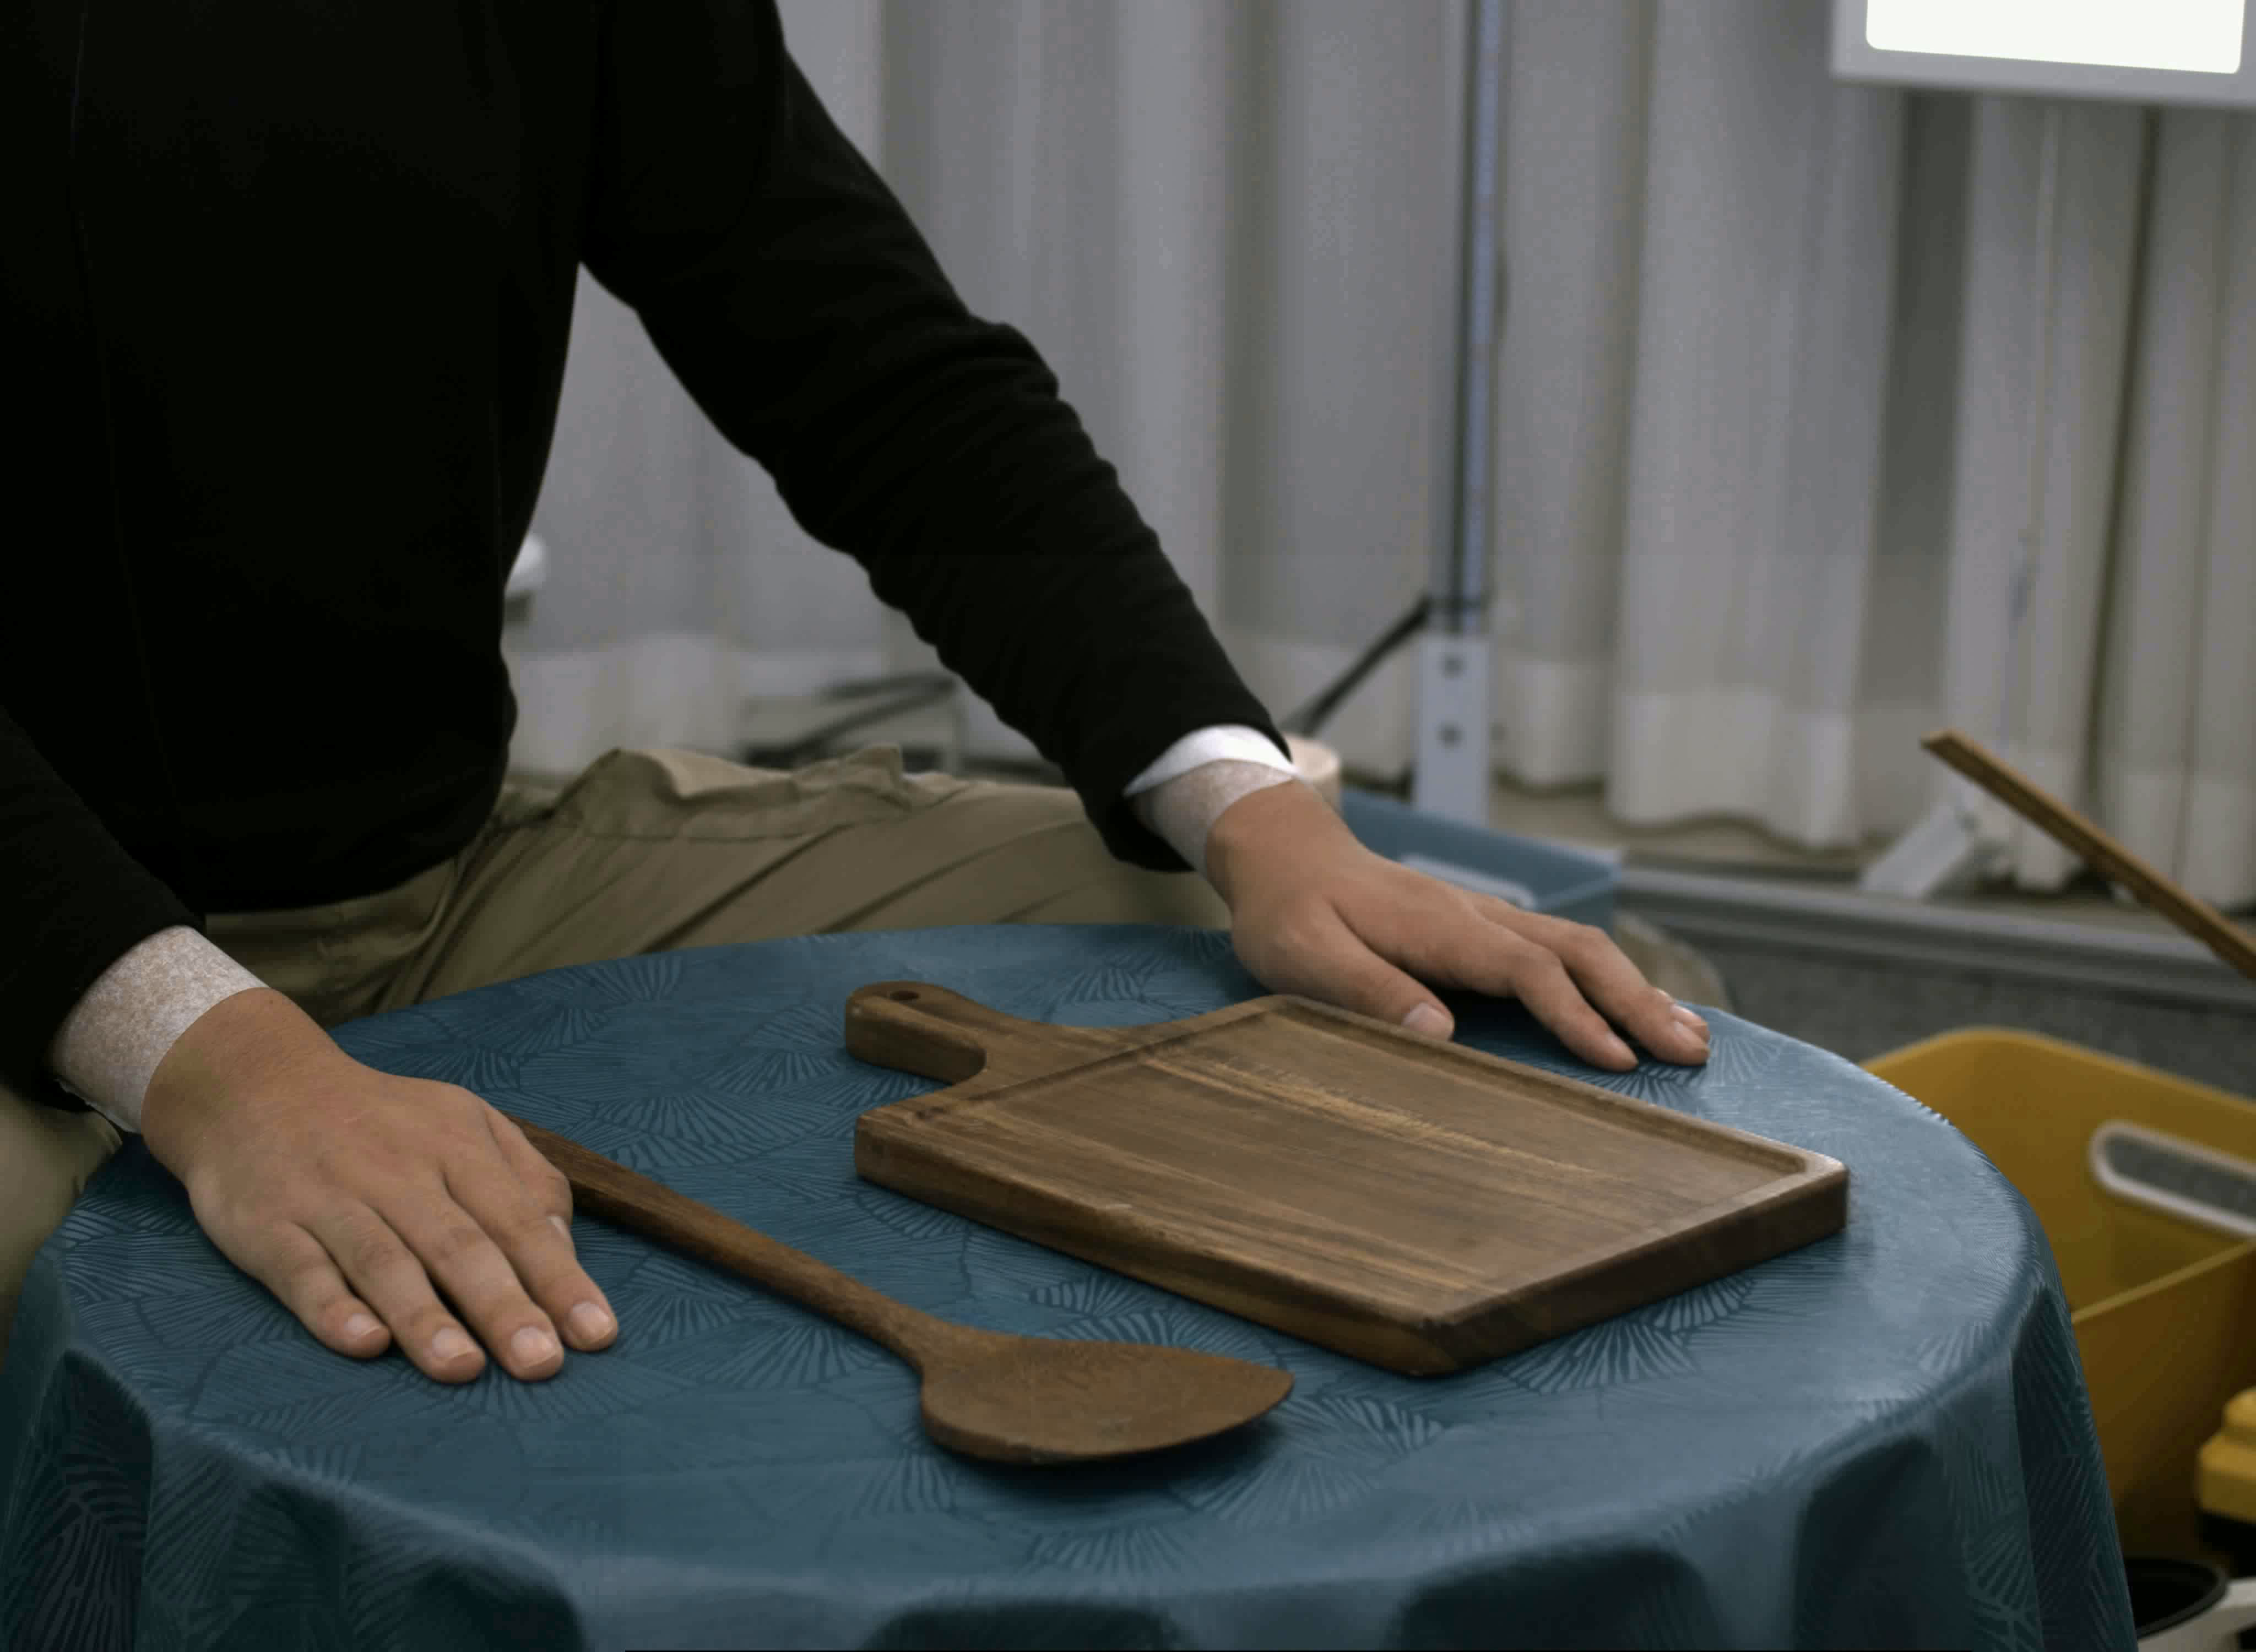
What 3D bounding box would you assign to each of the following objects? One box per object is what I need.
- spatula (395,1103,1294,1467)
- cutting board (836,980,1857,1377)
[{"bbox_3d":[-0.104,0.128,1.535,0.096,0.016,0.381,-12,20,-39],"label":"spatula"},{"bbox_3d":[0.033,0.095,1.645,0.202,0.023,0.347,-14,21,-43],"label":"cutting board"}]
